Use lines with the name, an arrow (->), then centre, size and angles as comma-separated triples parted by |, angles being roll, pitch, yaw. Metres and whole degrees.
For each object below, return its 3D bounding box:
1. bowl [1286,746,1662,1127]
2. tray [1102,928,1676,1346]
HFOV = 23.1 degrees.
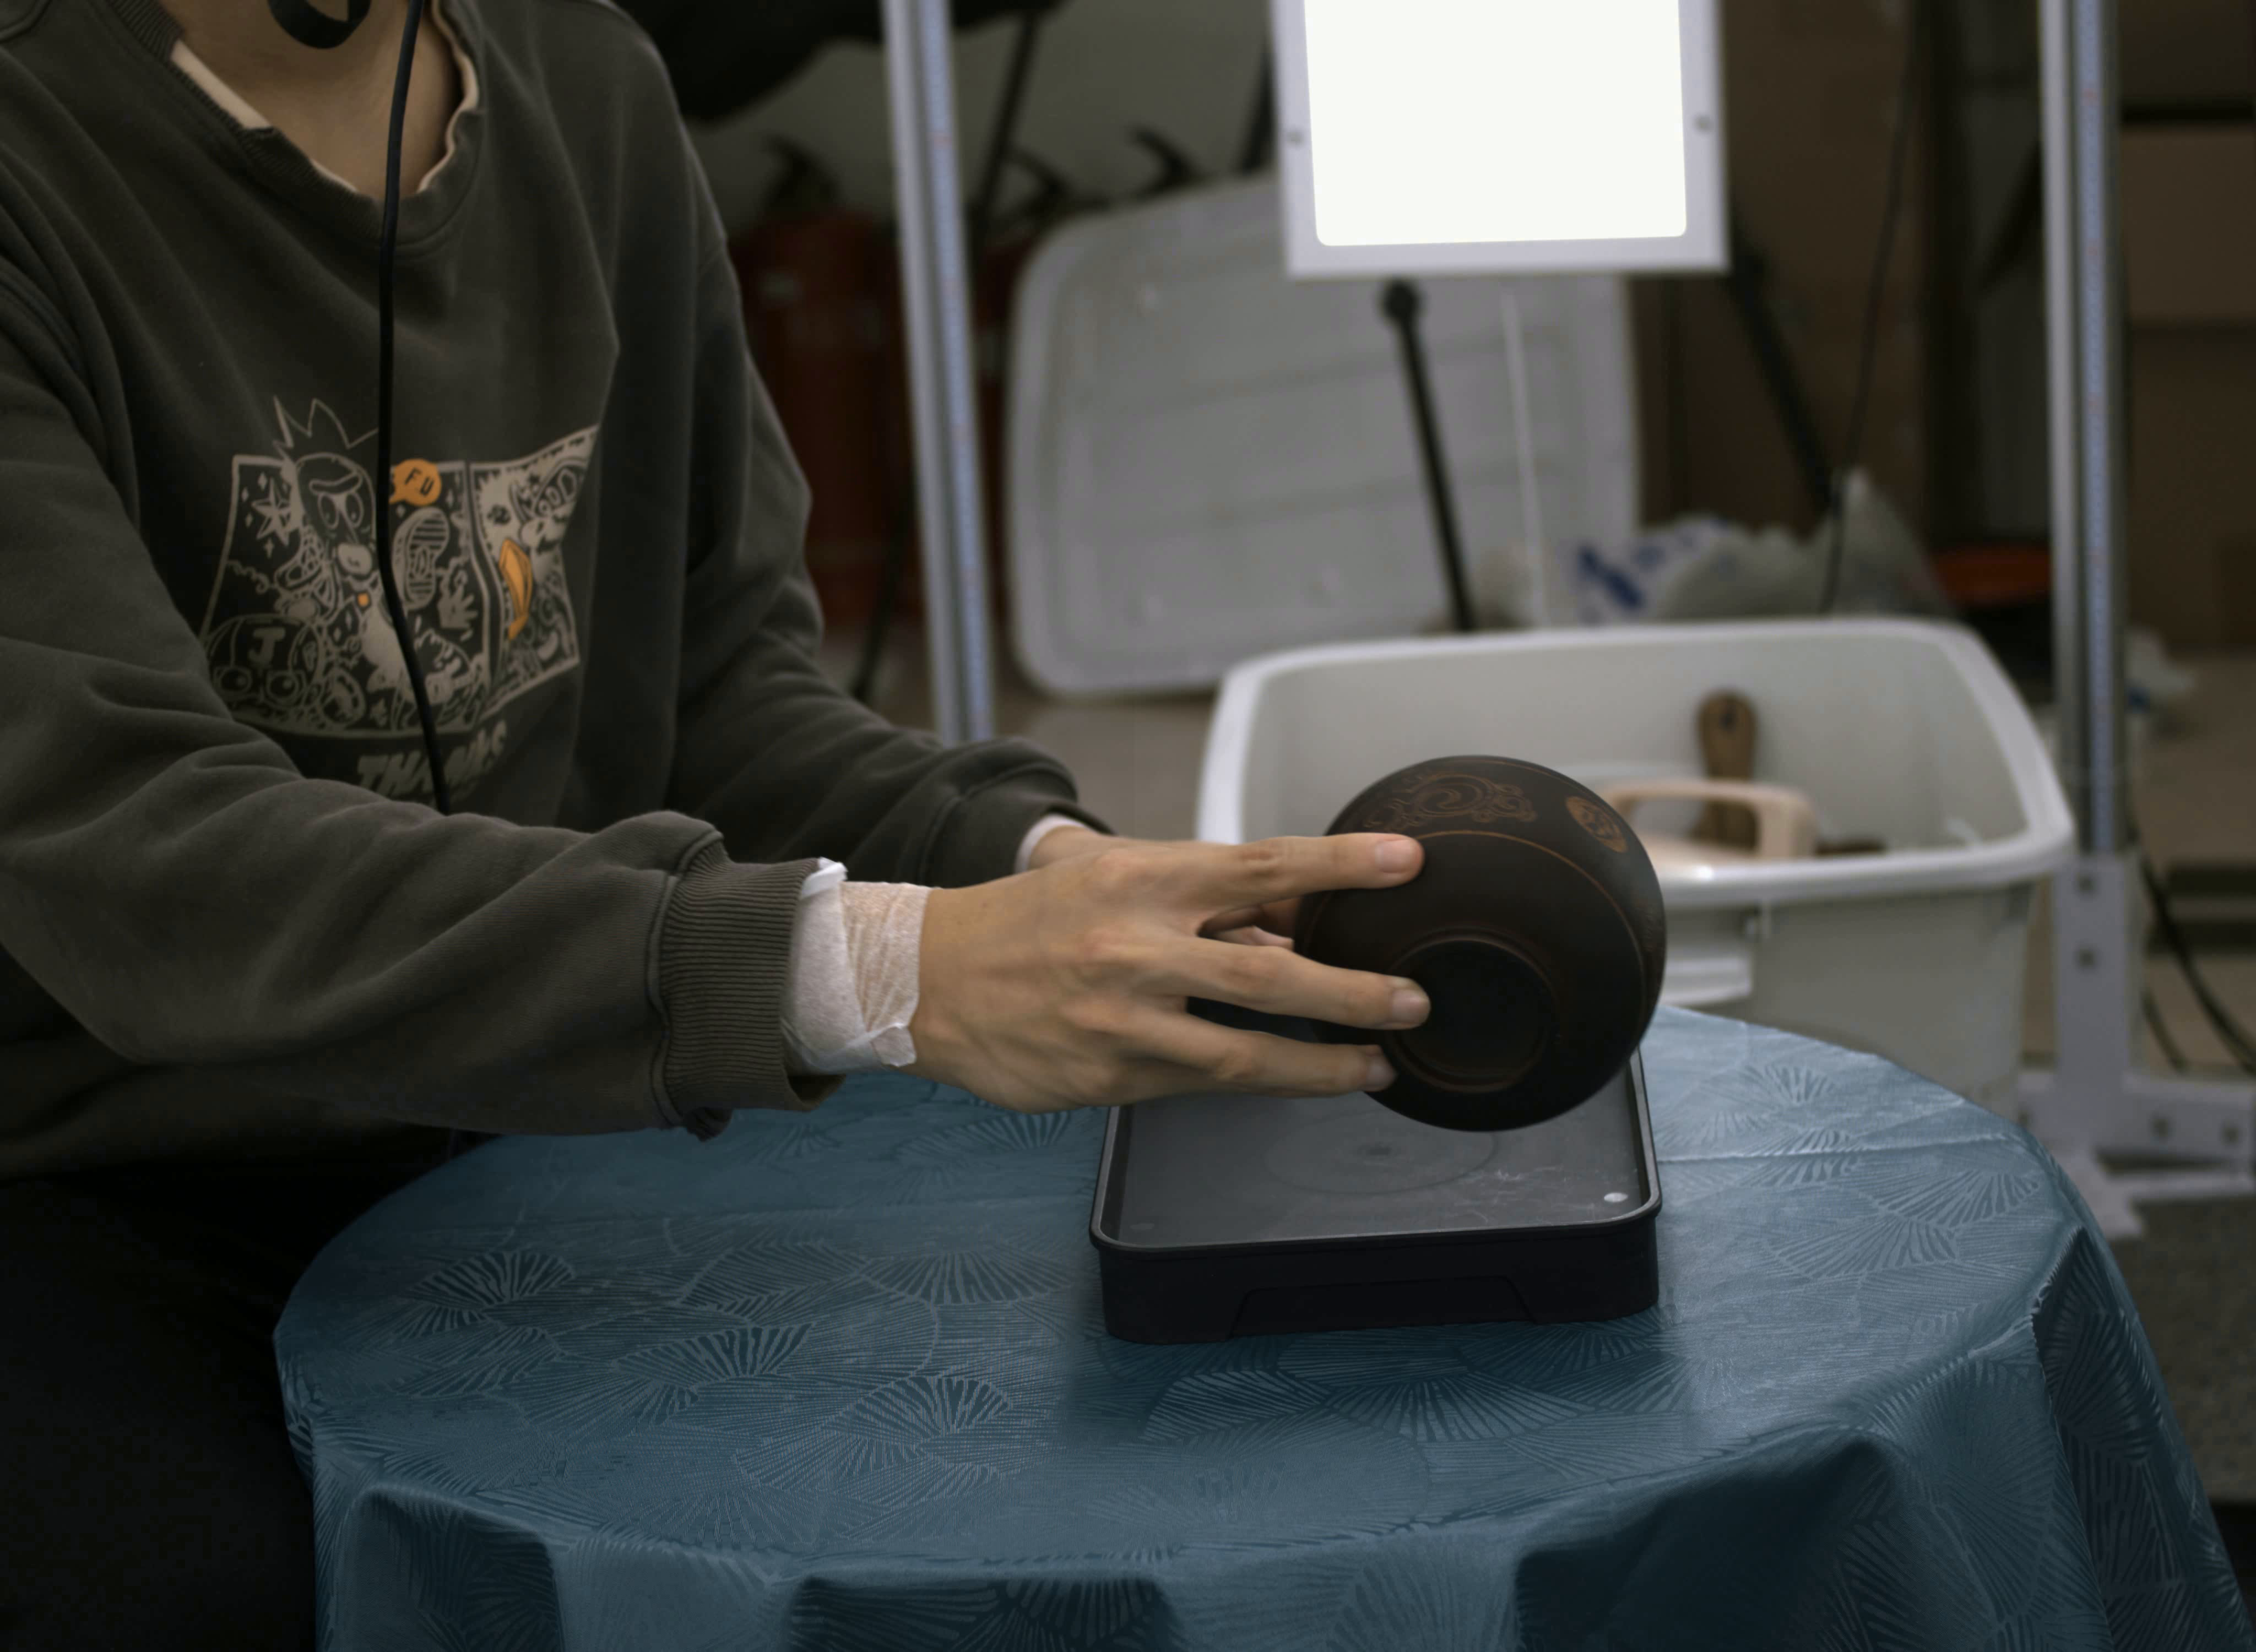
bowl -> 0.106, 0.041, 1.696 | 0.119, 0.118, 0.069 | -2, 27, 10
tray -> 0.086, 0.097, 1.881 | 0.184, 0.037, 0.316 | -6, 17, 3
